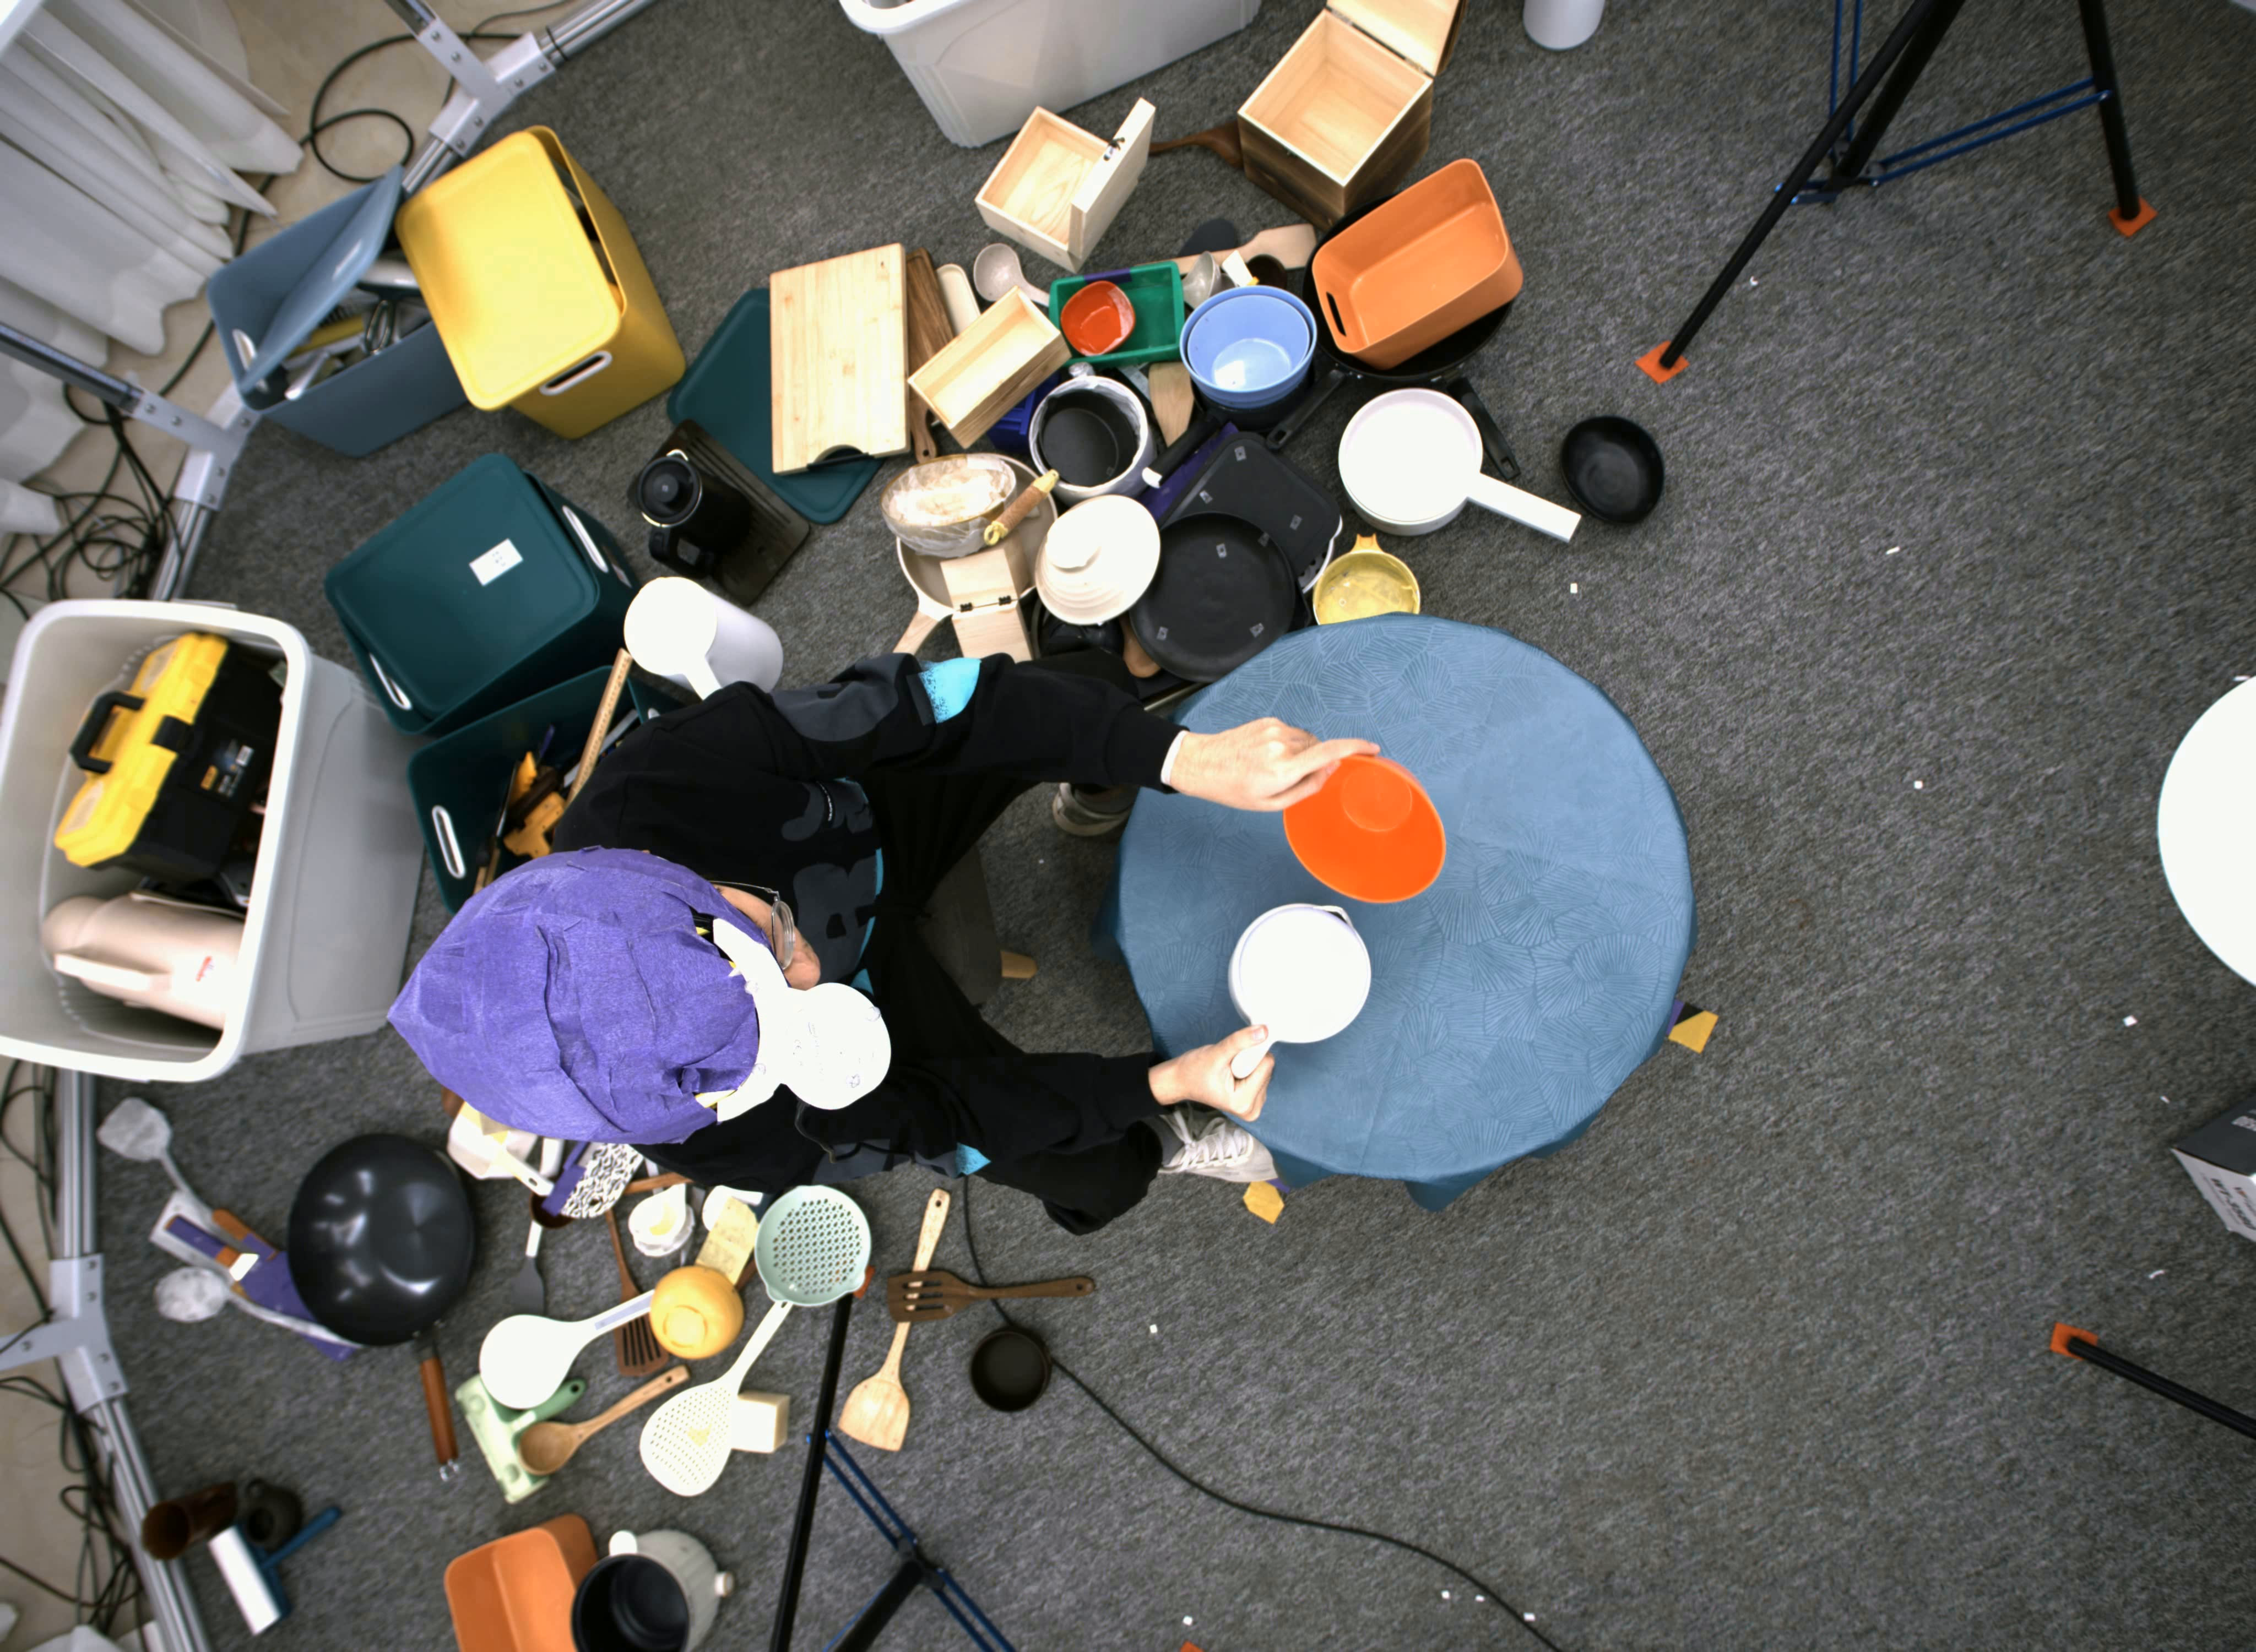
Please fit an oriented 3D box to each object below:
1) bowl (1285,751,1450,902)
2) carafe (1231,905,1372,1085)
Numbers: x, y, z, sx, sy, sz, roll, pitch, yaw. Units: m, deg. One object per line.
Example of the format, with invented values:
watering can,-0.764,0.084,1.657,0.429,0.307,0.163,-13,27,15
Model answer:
bowl,0.220,-0.014,1.219,0.148,0.102,0.151,11,120,20
carafe,0.153,0.165,1.345,0.132,0.183,0.191,30,89,7
